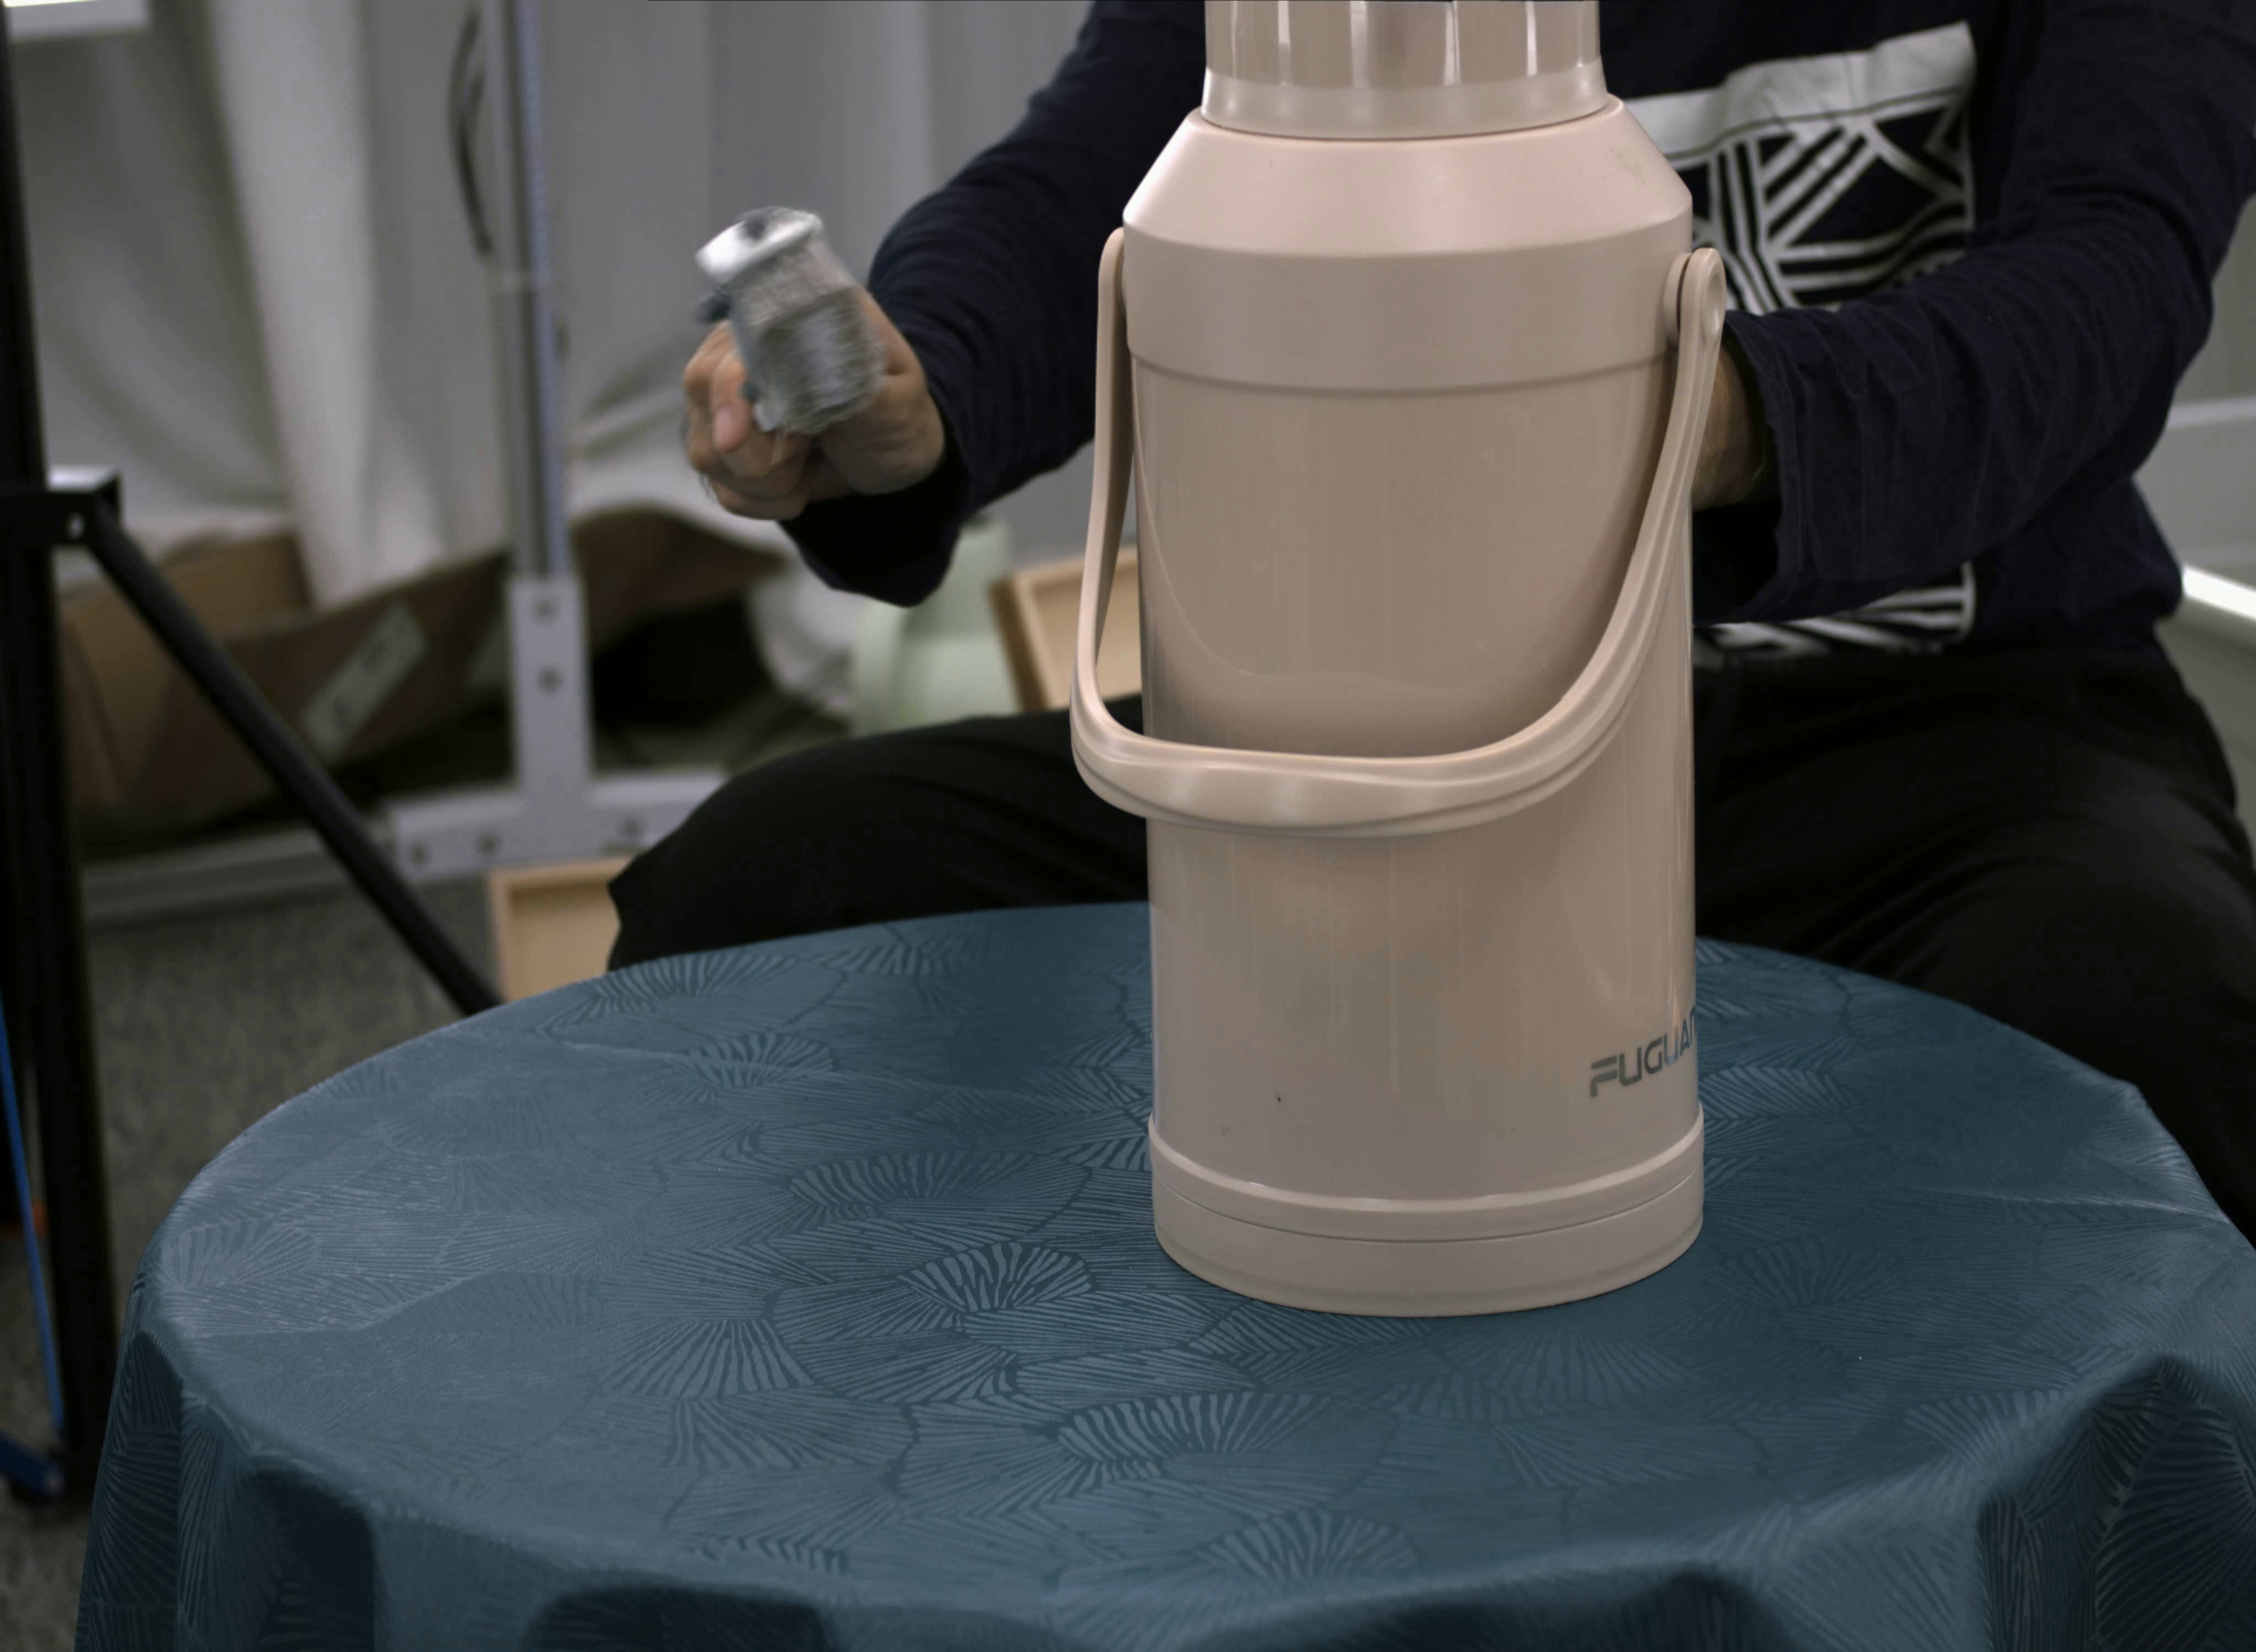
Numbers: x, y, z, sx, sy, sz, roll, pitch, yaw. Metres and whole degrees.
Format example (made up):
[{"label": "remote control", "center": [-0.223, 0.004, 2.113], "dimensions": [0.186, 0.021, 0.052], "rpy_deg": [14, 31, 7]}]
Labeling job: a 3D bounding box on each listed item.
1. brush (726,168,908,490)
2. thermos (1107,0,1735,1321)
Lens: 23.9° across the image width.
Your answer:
[{"label": "brush", "center": [-0.094, -0.128, 1.578], "dimensions": [0.034, 0.051, 0.243], "rpy_deg": [-31, -10, -13]}, {"label": "thermos", "center": [0.088, -0.080, 1.486], "dimensions": [0.177, 0.406, 0.204], "rpy_deg": [2, 15, 22]}]
